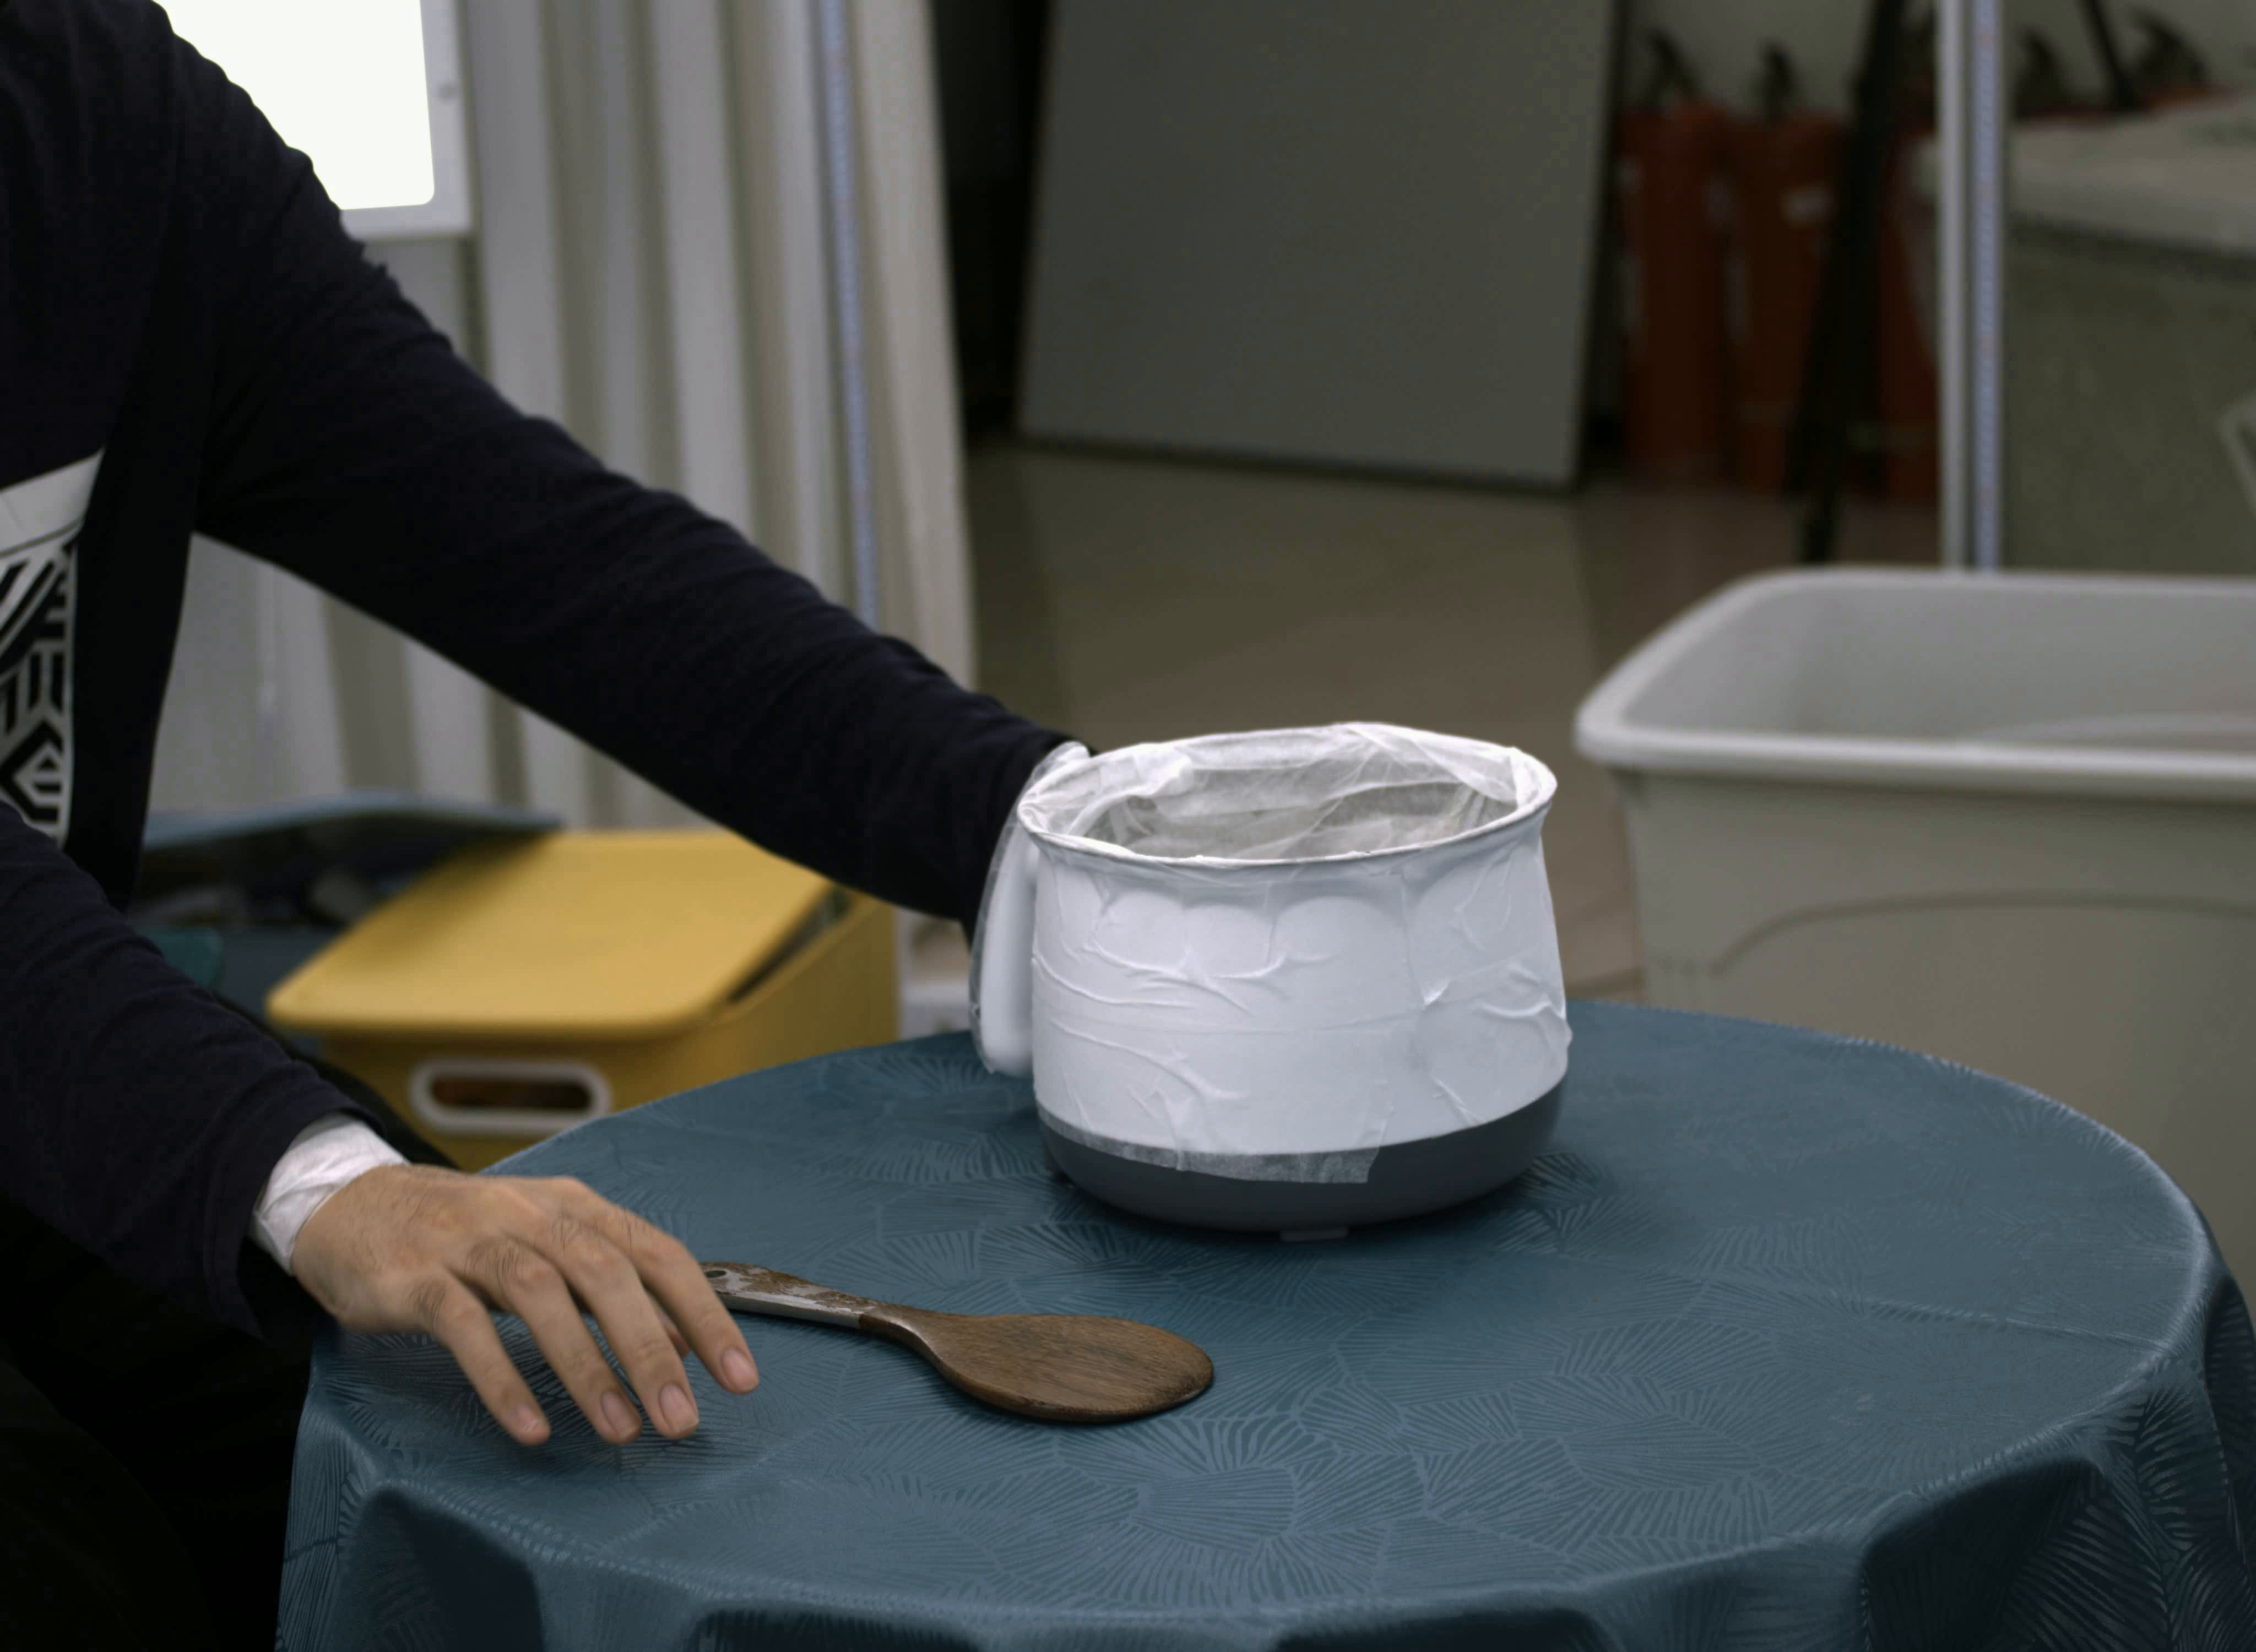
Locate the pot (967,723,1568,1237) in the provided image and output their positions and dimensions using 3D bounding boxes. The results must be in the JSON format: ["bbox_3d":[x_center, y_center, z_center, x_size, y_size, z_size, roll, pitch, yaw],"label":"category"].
[{"bbox_3d":[0.035,0.044,1.780,0.236,0.138,0.175,11,17,42],"label":"pot"}]

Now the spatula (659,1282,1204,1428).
[{"bbox_3d":[-0.064,0.156,1.641,0.217,0.009,0.070,8,15,43],"label":"spatula"}]
